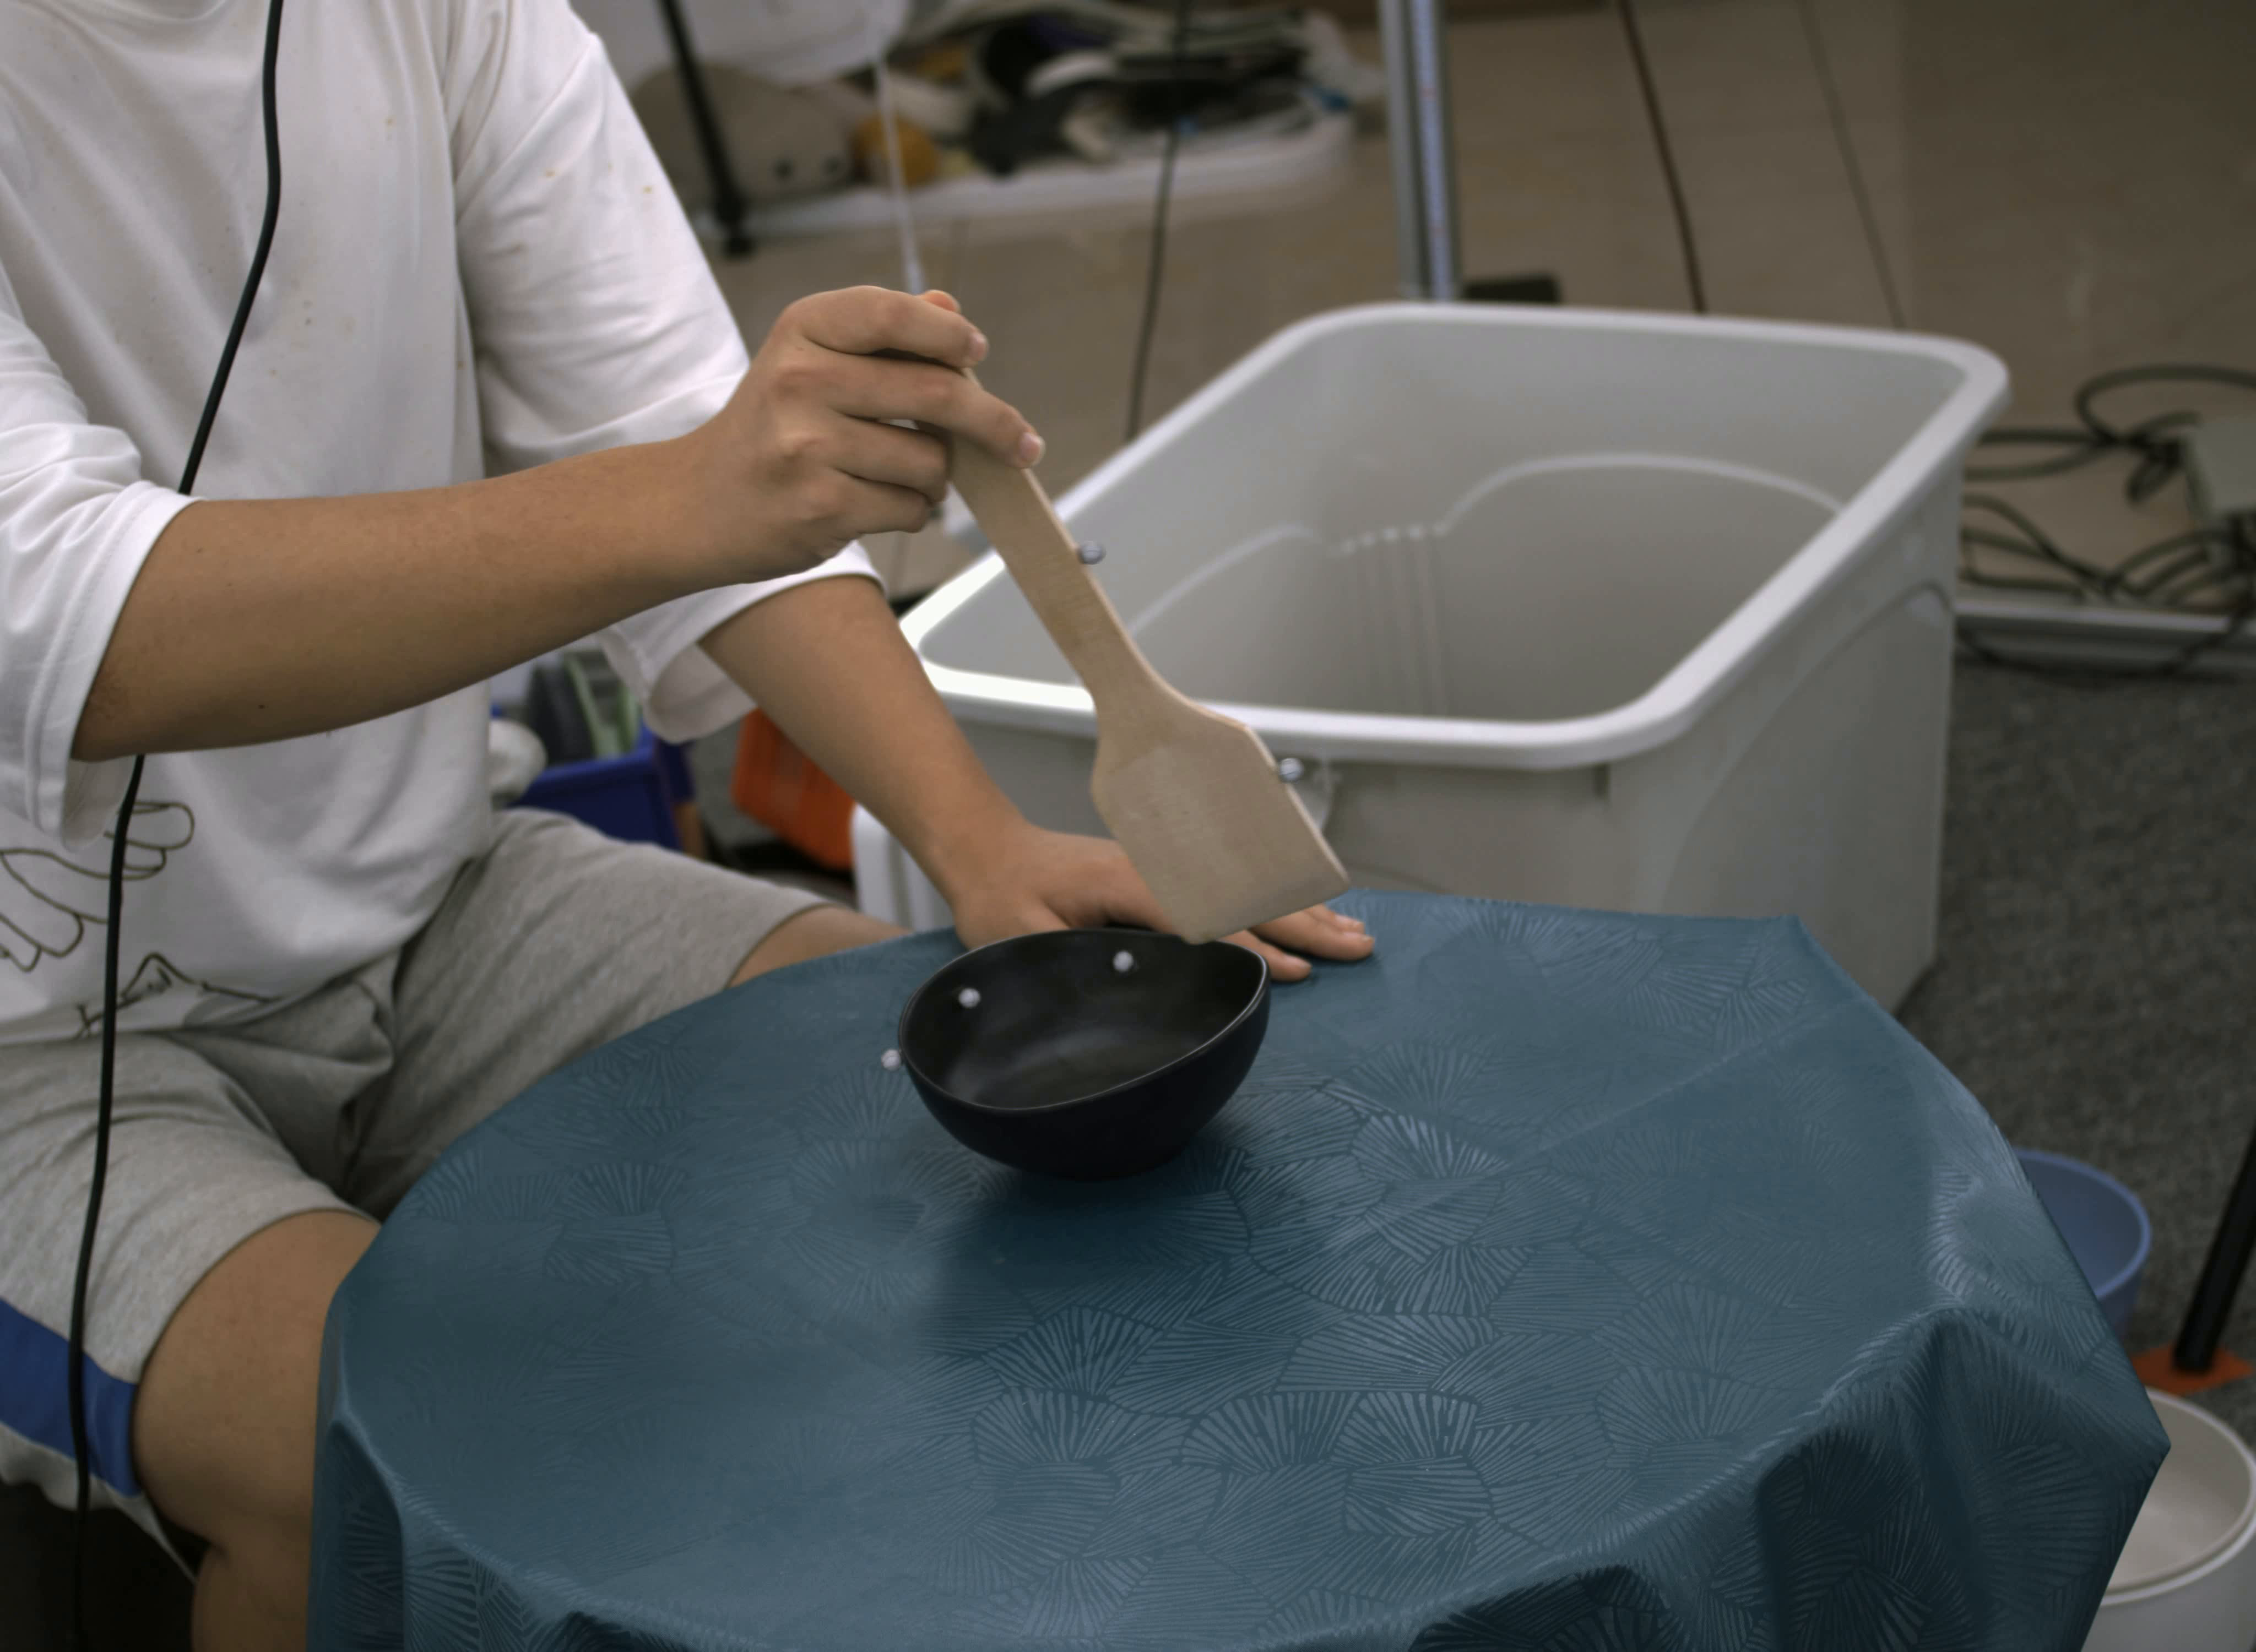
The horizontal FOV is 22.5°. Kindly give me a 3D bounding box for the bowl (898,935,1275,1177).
[{"bbox_3d":[-0.012,0.092,2.174,0.137,0.068,0.168,6,26,26],"label":"bowl"}]

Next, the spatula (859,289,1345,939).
[{"bbox_3d":[-0.015,-0.075,2.029,0.072,0.297,0.010,-19,32,22],"label":"spatula"}]
